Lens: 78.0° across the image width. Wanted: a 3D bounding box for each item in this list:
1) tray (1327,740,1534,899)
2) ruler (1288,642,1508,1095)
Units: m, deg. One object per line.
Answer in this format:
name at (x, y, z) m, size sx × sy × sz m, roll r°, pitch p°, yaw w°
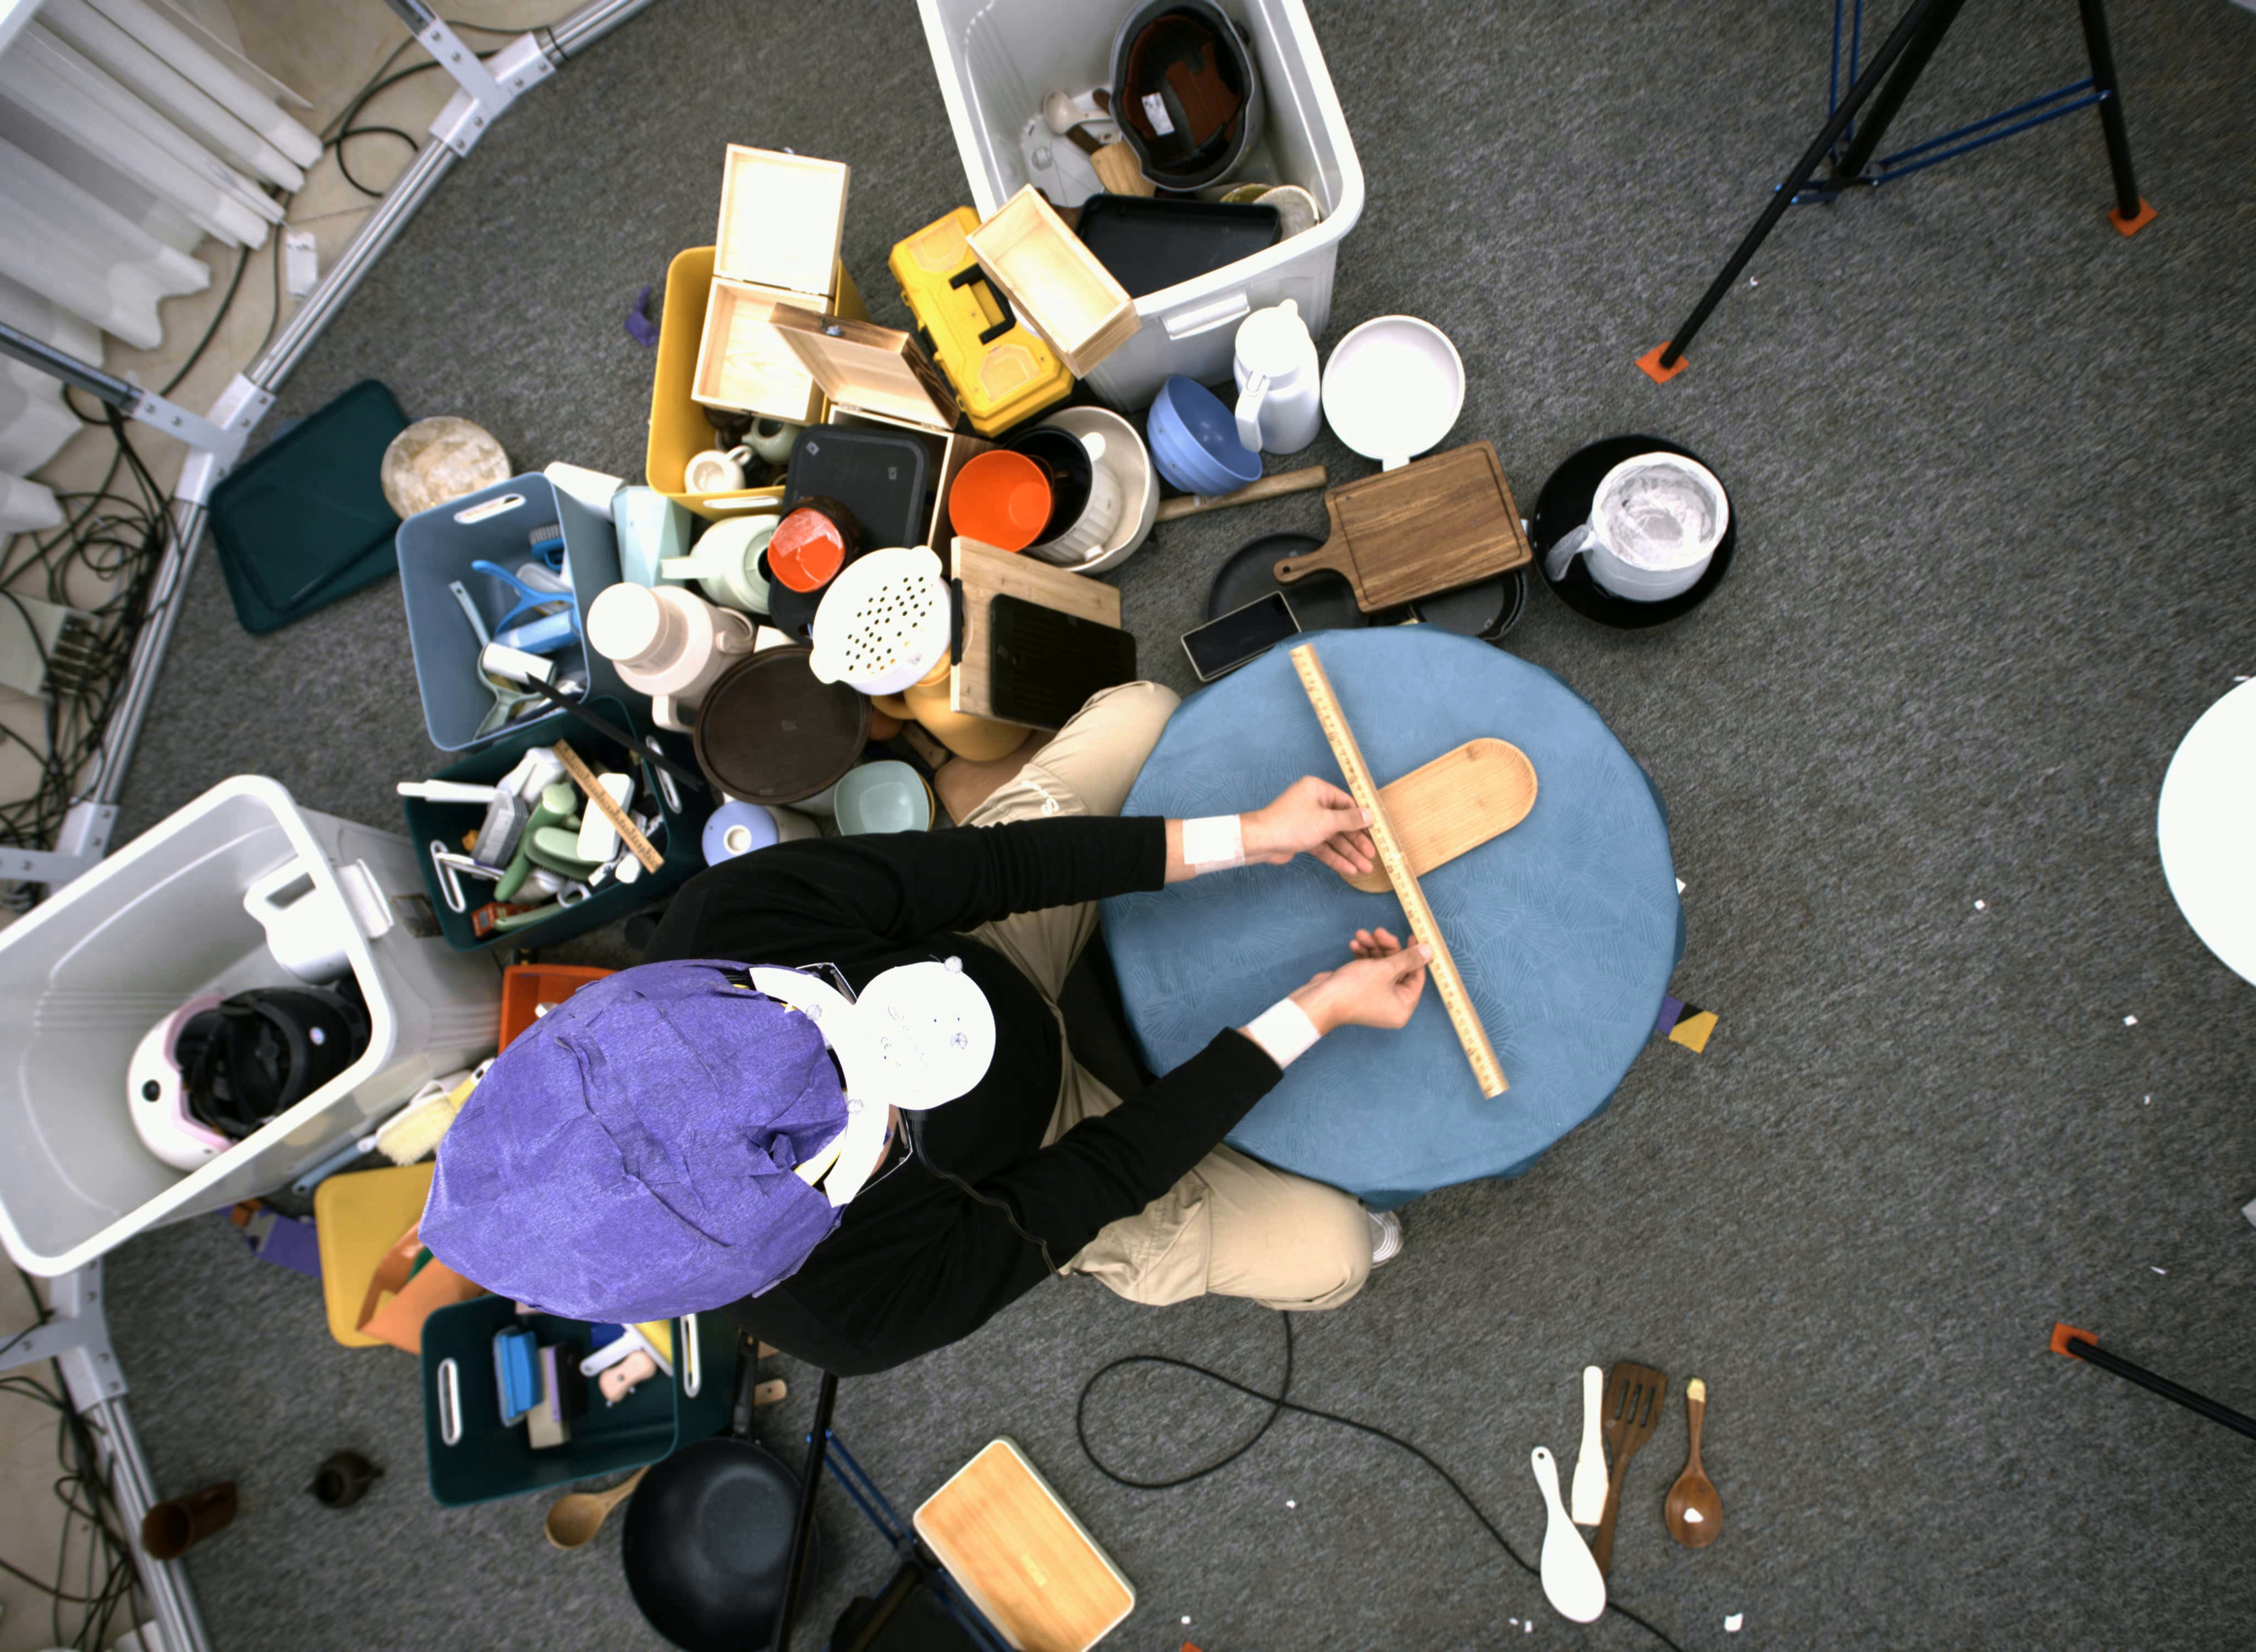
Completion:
tray at (0.317, -0.008, 1.447) m, size 0.233 × 0.020 × 0.101 m, roll -31°, pitch 80°, yaw 9°
ruler at (0.275, 0.039, 1.415) m, size 0.027 × 0.006 × 0.498 m, roll -23°, pitch 85°, yaw -1°
